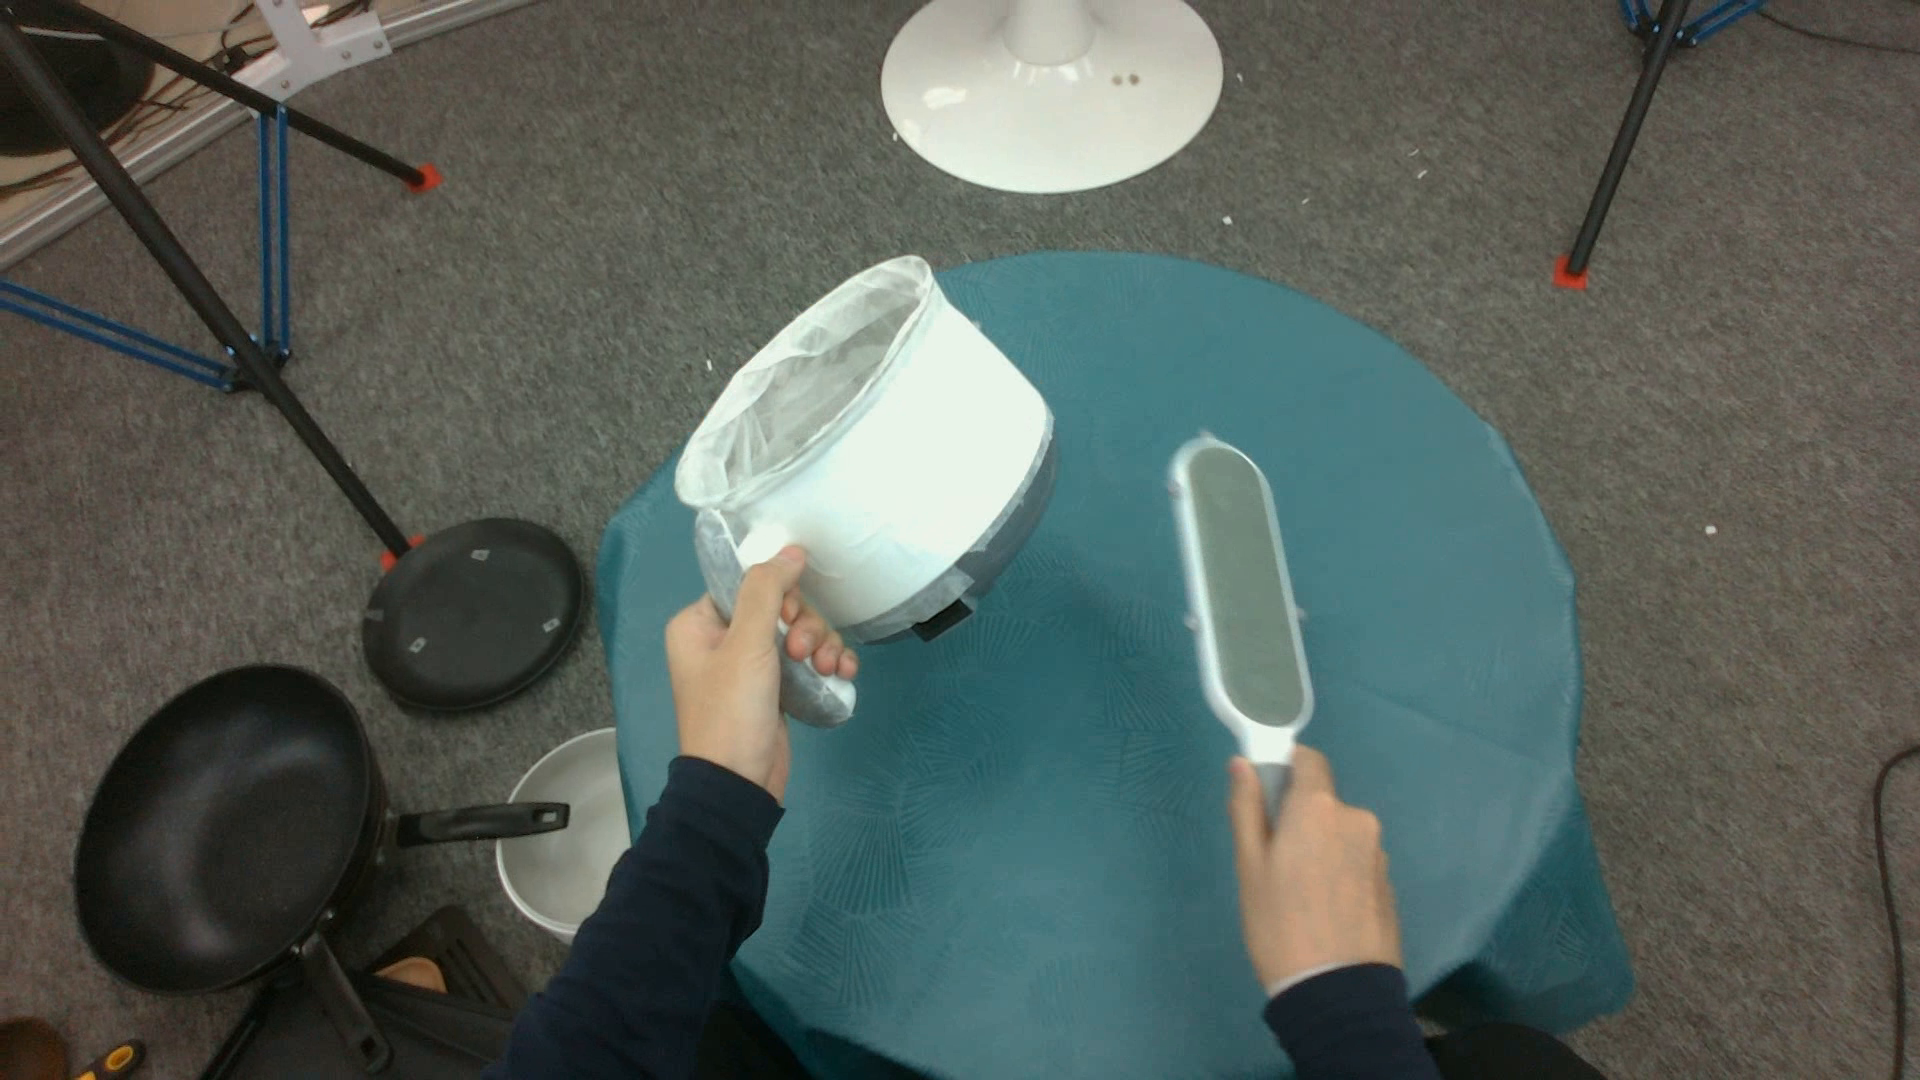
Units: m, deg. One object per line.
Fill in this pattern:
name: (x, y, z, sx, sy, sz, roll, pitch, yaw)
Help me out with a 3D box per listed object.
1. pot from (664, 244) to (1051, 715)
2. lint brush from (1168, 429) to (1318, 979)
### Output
pot: (-0.060, -0.030, 0.725, 0.178, 0.136, 0.235, -18, 36, 45)
lint brush: (0.146, 0.069, 0.708, 0.060, 0.021, 0.310, 13, 54, -21)
